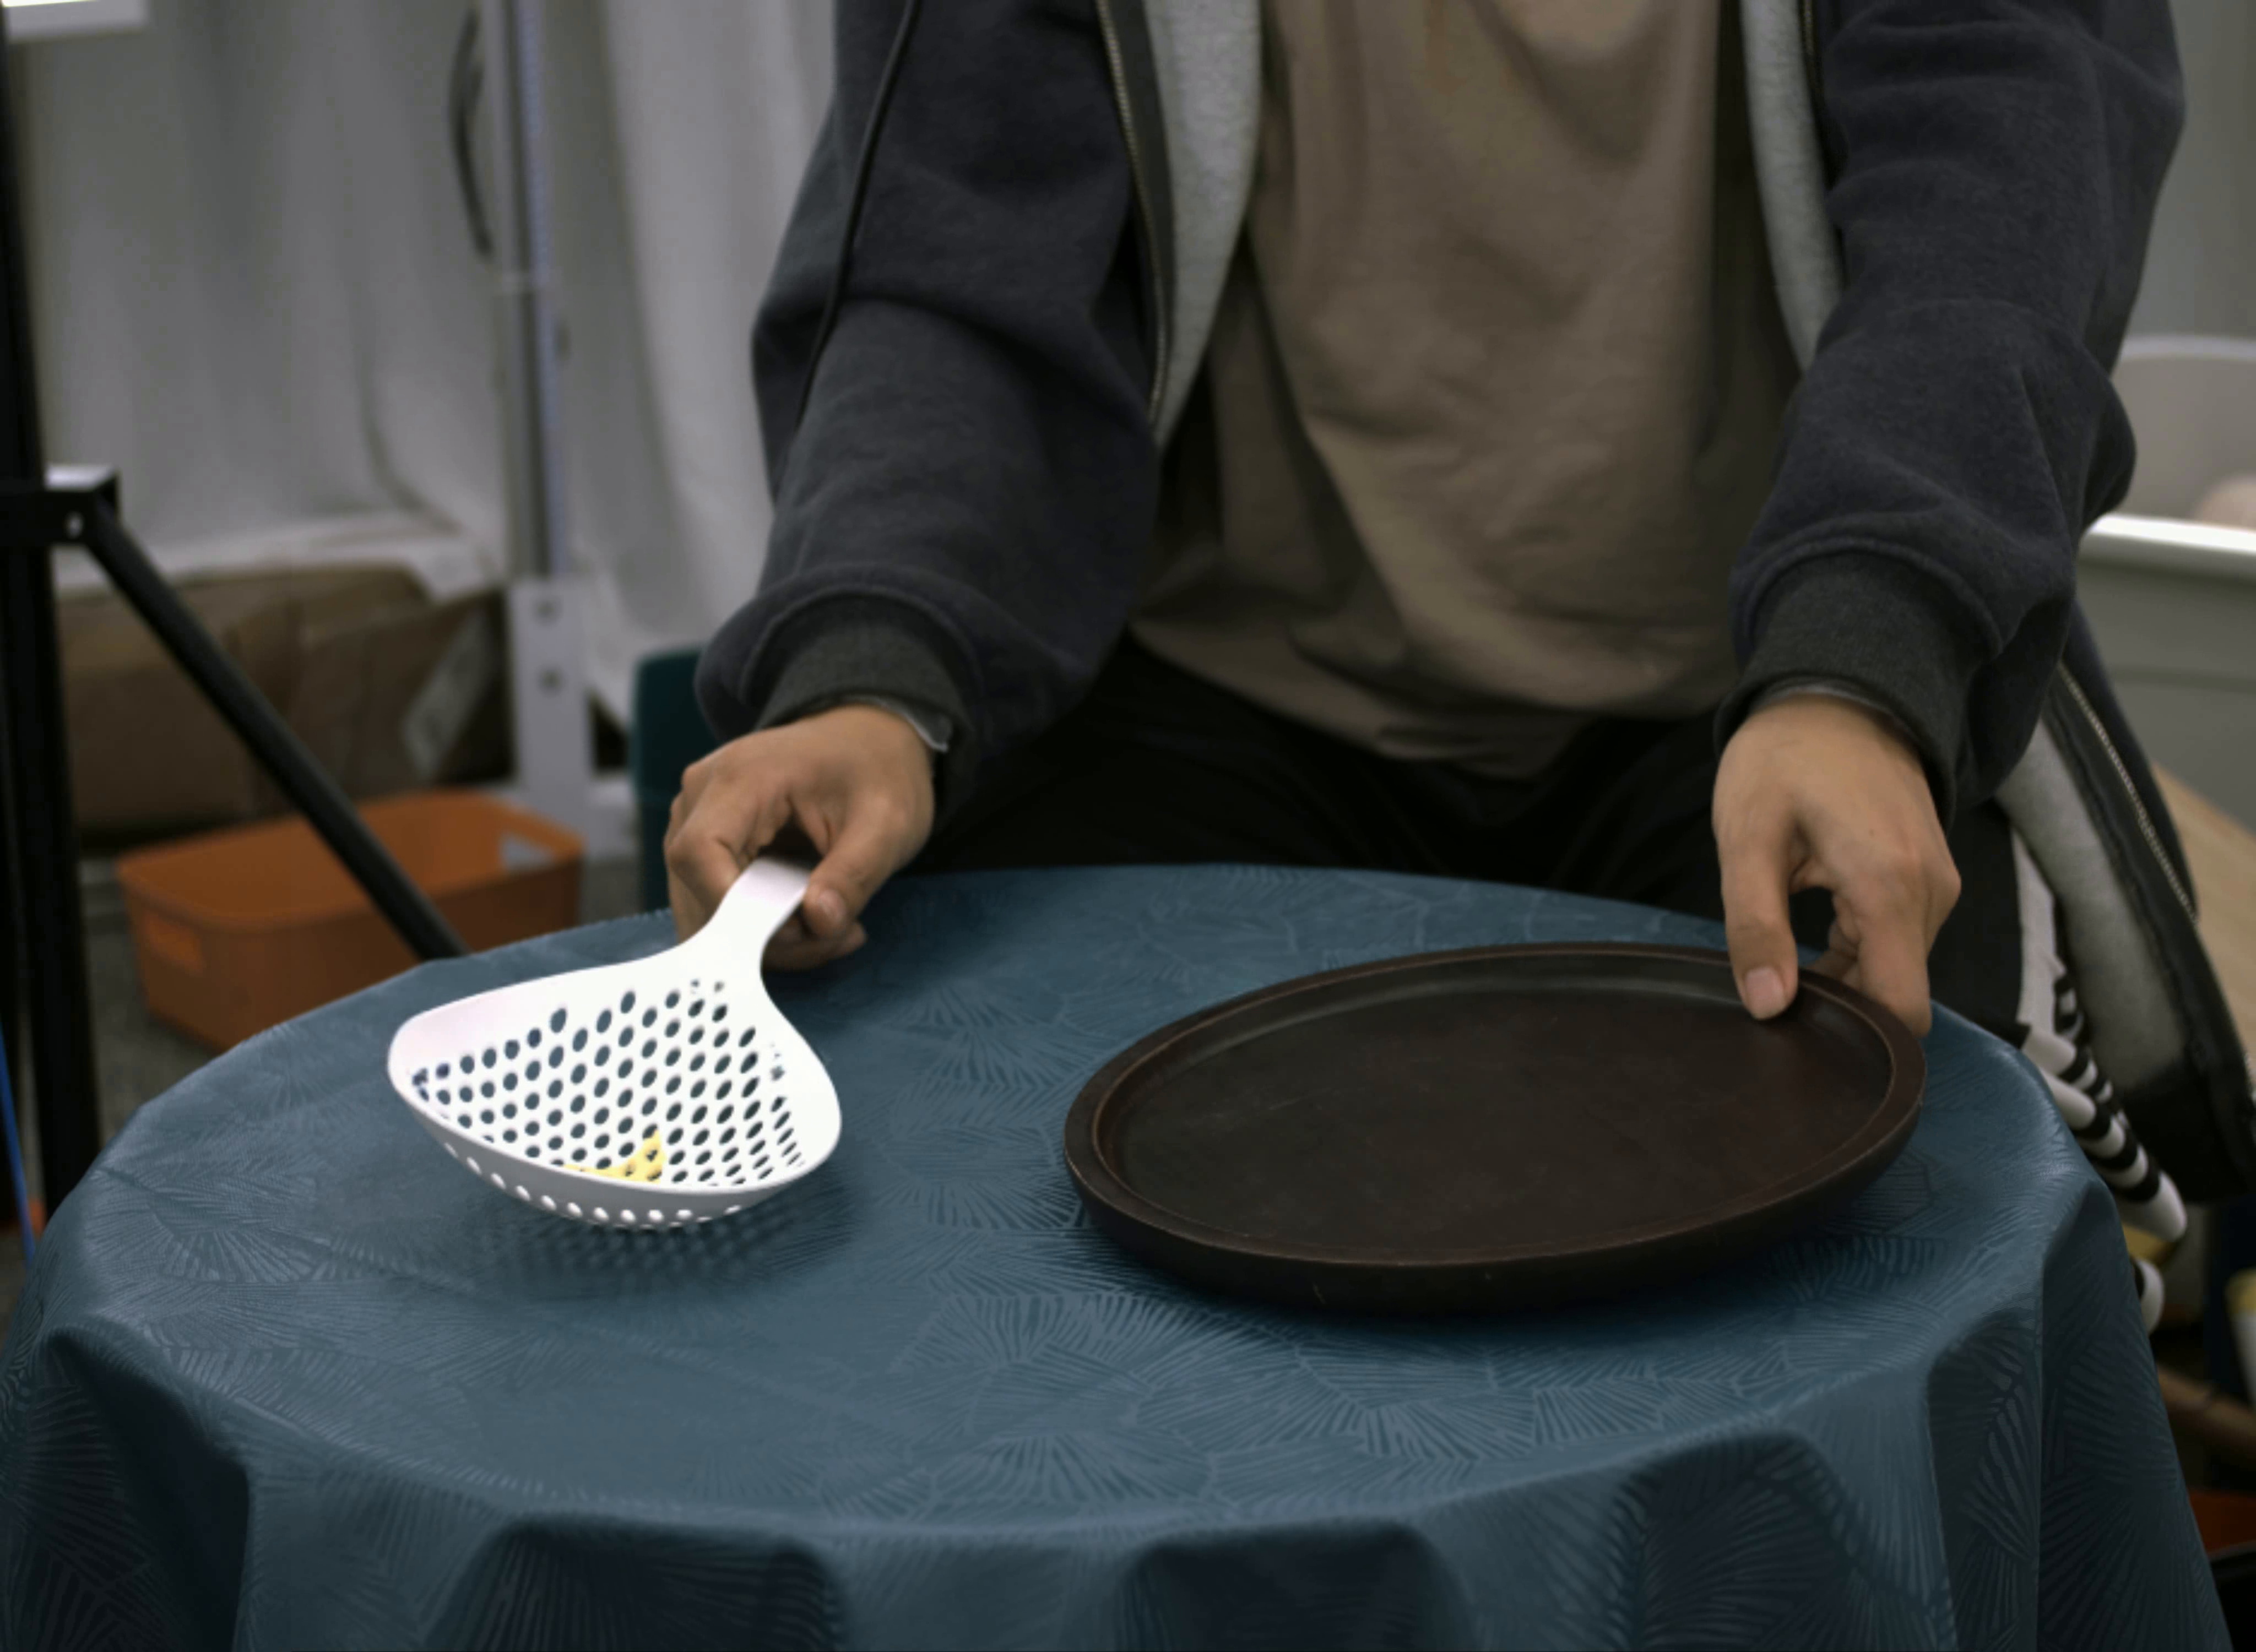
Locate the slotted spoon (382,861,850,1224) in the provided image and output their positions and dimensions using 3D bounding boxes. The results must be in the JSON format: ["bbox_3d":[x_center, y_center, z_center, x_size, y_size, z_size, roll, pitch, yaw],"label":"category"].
[{"bbox_3d":[-0.135,0.054,1.664,0.137,0.050,0.347,11,21,6],"label":"slotted spoon"}]

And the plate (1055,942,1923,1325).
[{"bbox_3d":[0.105,0.087,1.543,0.254,0.029,0.256,-8,17,1],"label":"plate"}]
